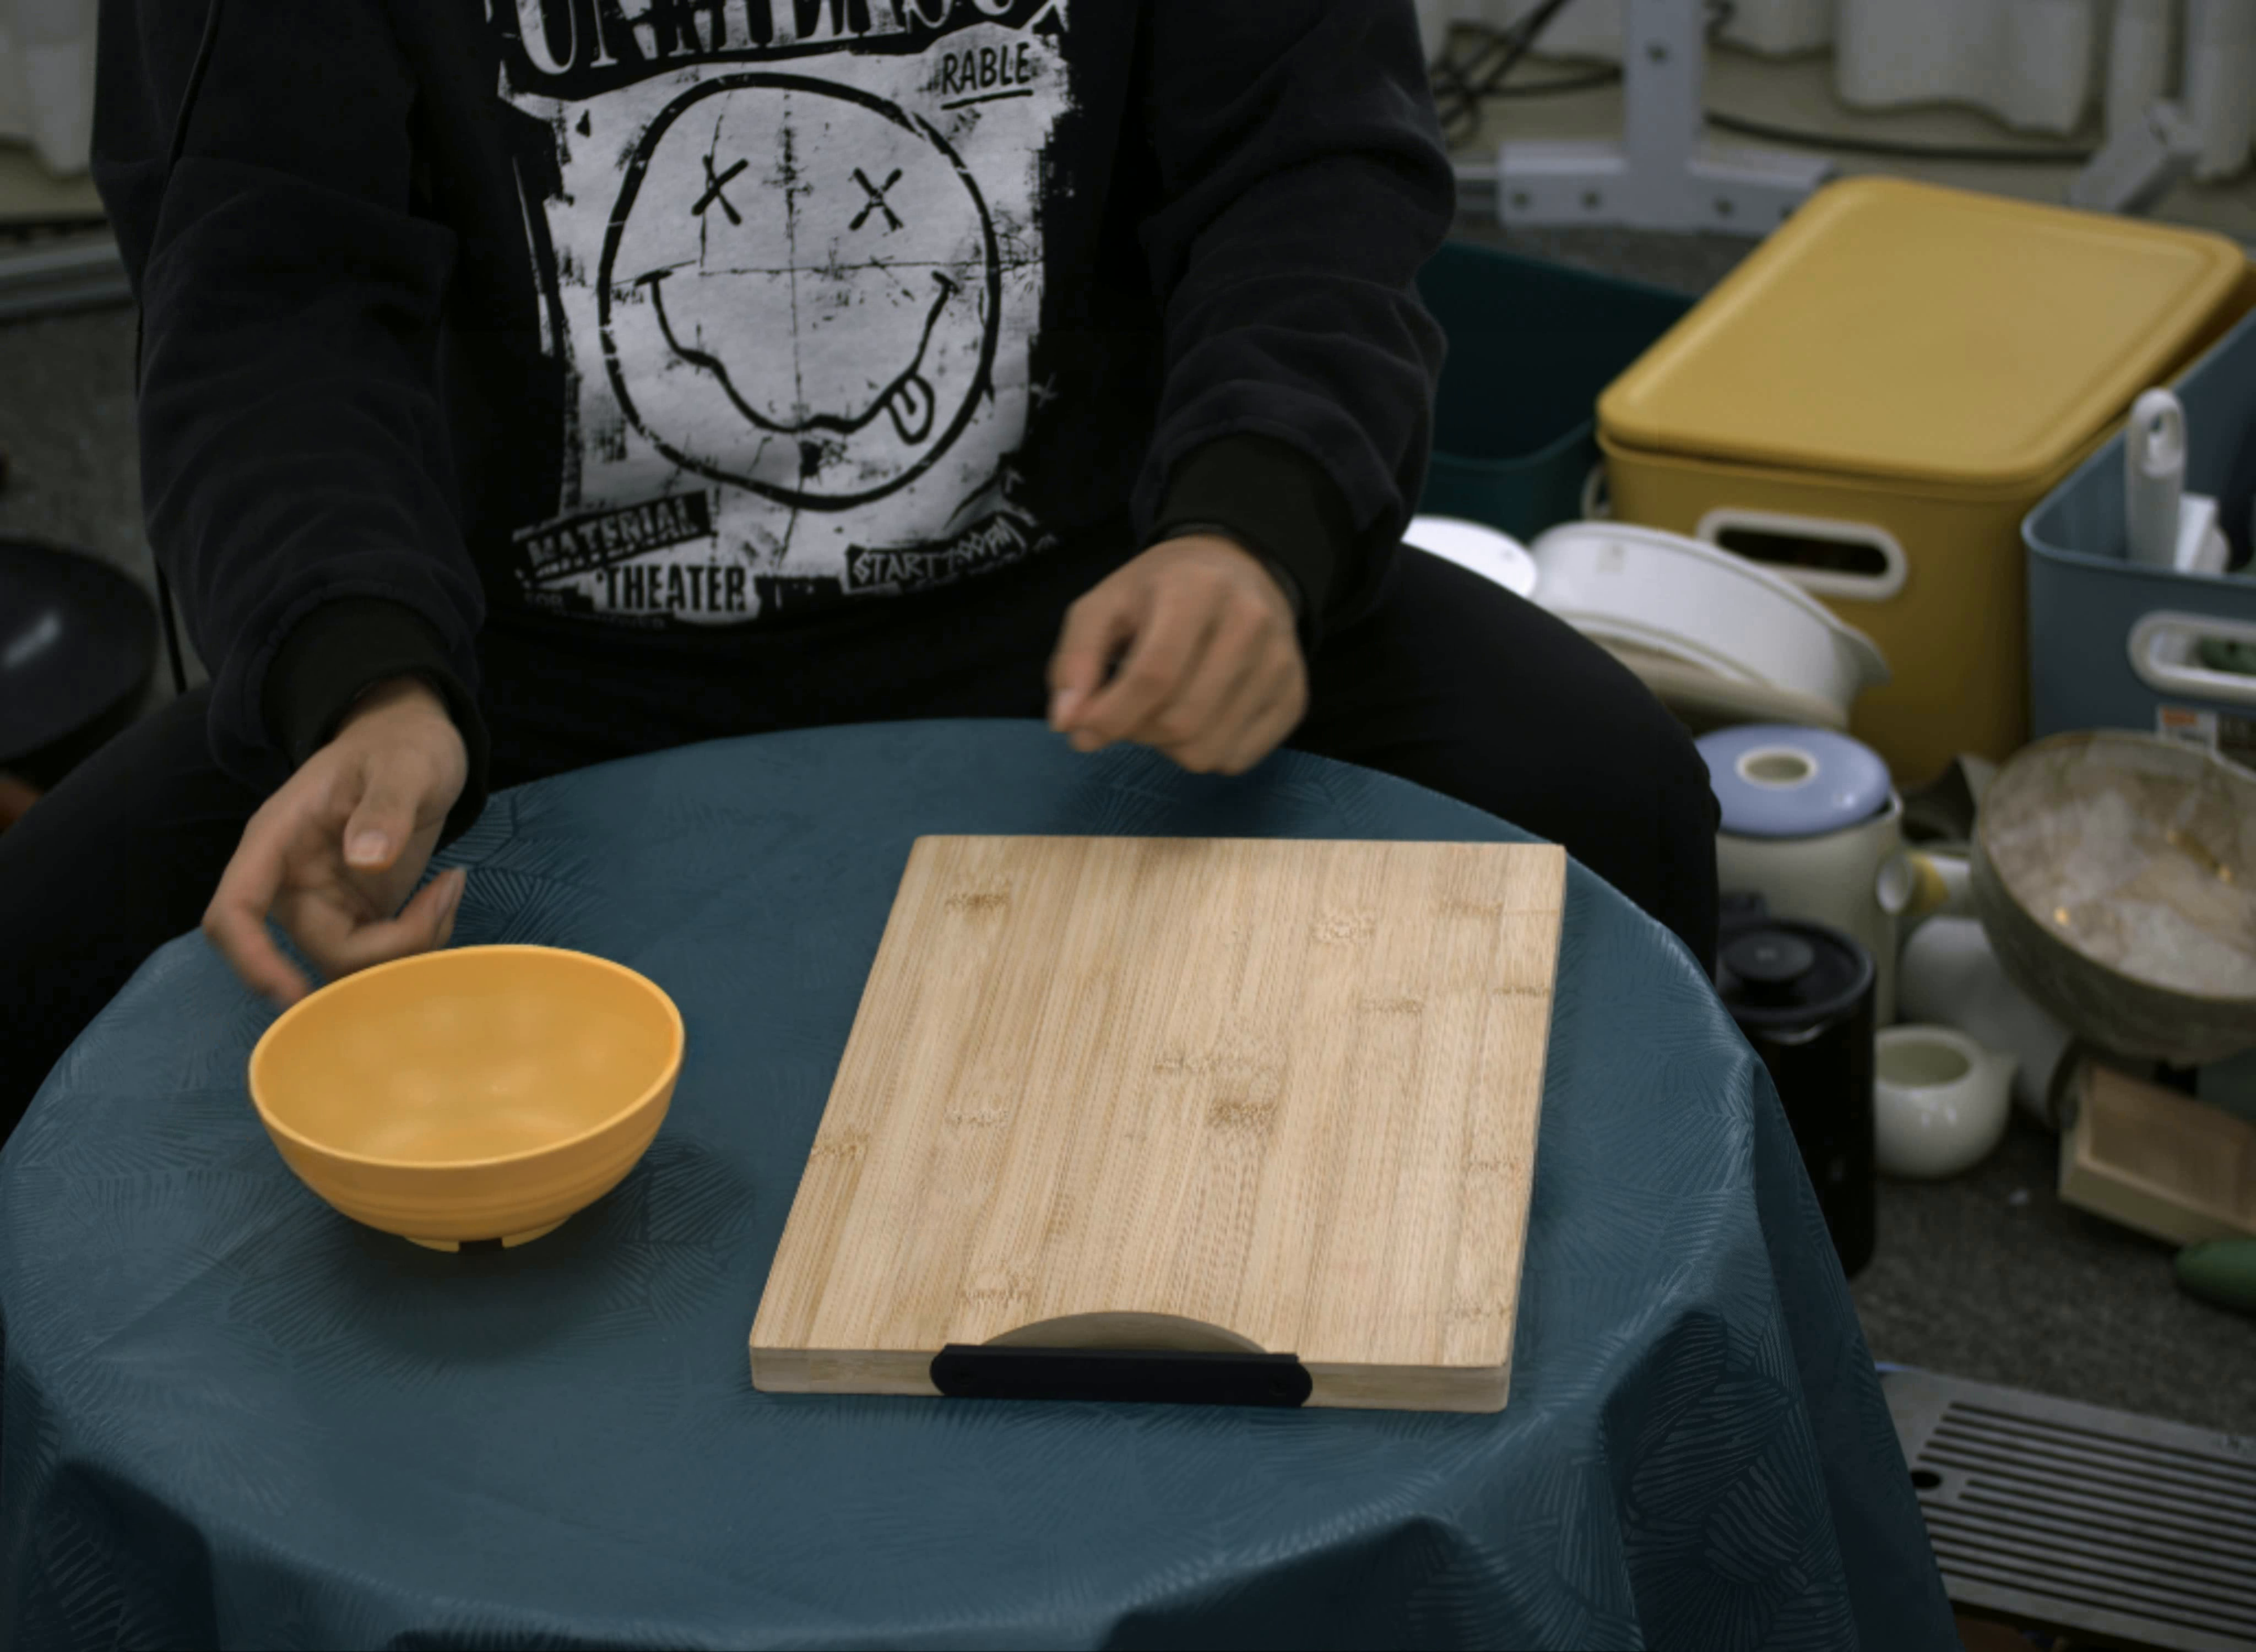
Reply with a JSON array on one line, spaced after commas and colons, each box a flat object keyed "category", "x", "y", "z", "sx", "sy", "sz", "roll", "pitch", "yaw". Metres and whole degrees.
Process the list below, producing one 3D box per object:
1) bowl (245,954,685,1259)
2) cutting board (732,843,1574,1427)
[{"category": "bowl", "x": -0.218, "y": 0.102, "z": 1.861, "sx": 0.144, "sy": 0.059, "sz": 0.147, "roll": 0, "pitch": 26, "yaw": 0}, {"category": "cutting board", "x": 0.018, "y": 0.097, "z": 1.890, "sx": 0.249, "sy": 0.023, "sz": 0.354, "roll": 0, "pitch": 27, "yaw": 7}]
